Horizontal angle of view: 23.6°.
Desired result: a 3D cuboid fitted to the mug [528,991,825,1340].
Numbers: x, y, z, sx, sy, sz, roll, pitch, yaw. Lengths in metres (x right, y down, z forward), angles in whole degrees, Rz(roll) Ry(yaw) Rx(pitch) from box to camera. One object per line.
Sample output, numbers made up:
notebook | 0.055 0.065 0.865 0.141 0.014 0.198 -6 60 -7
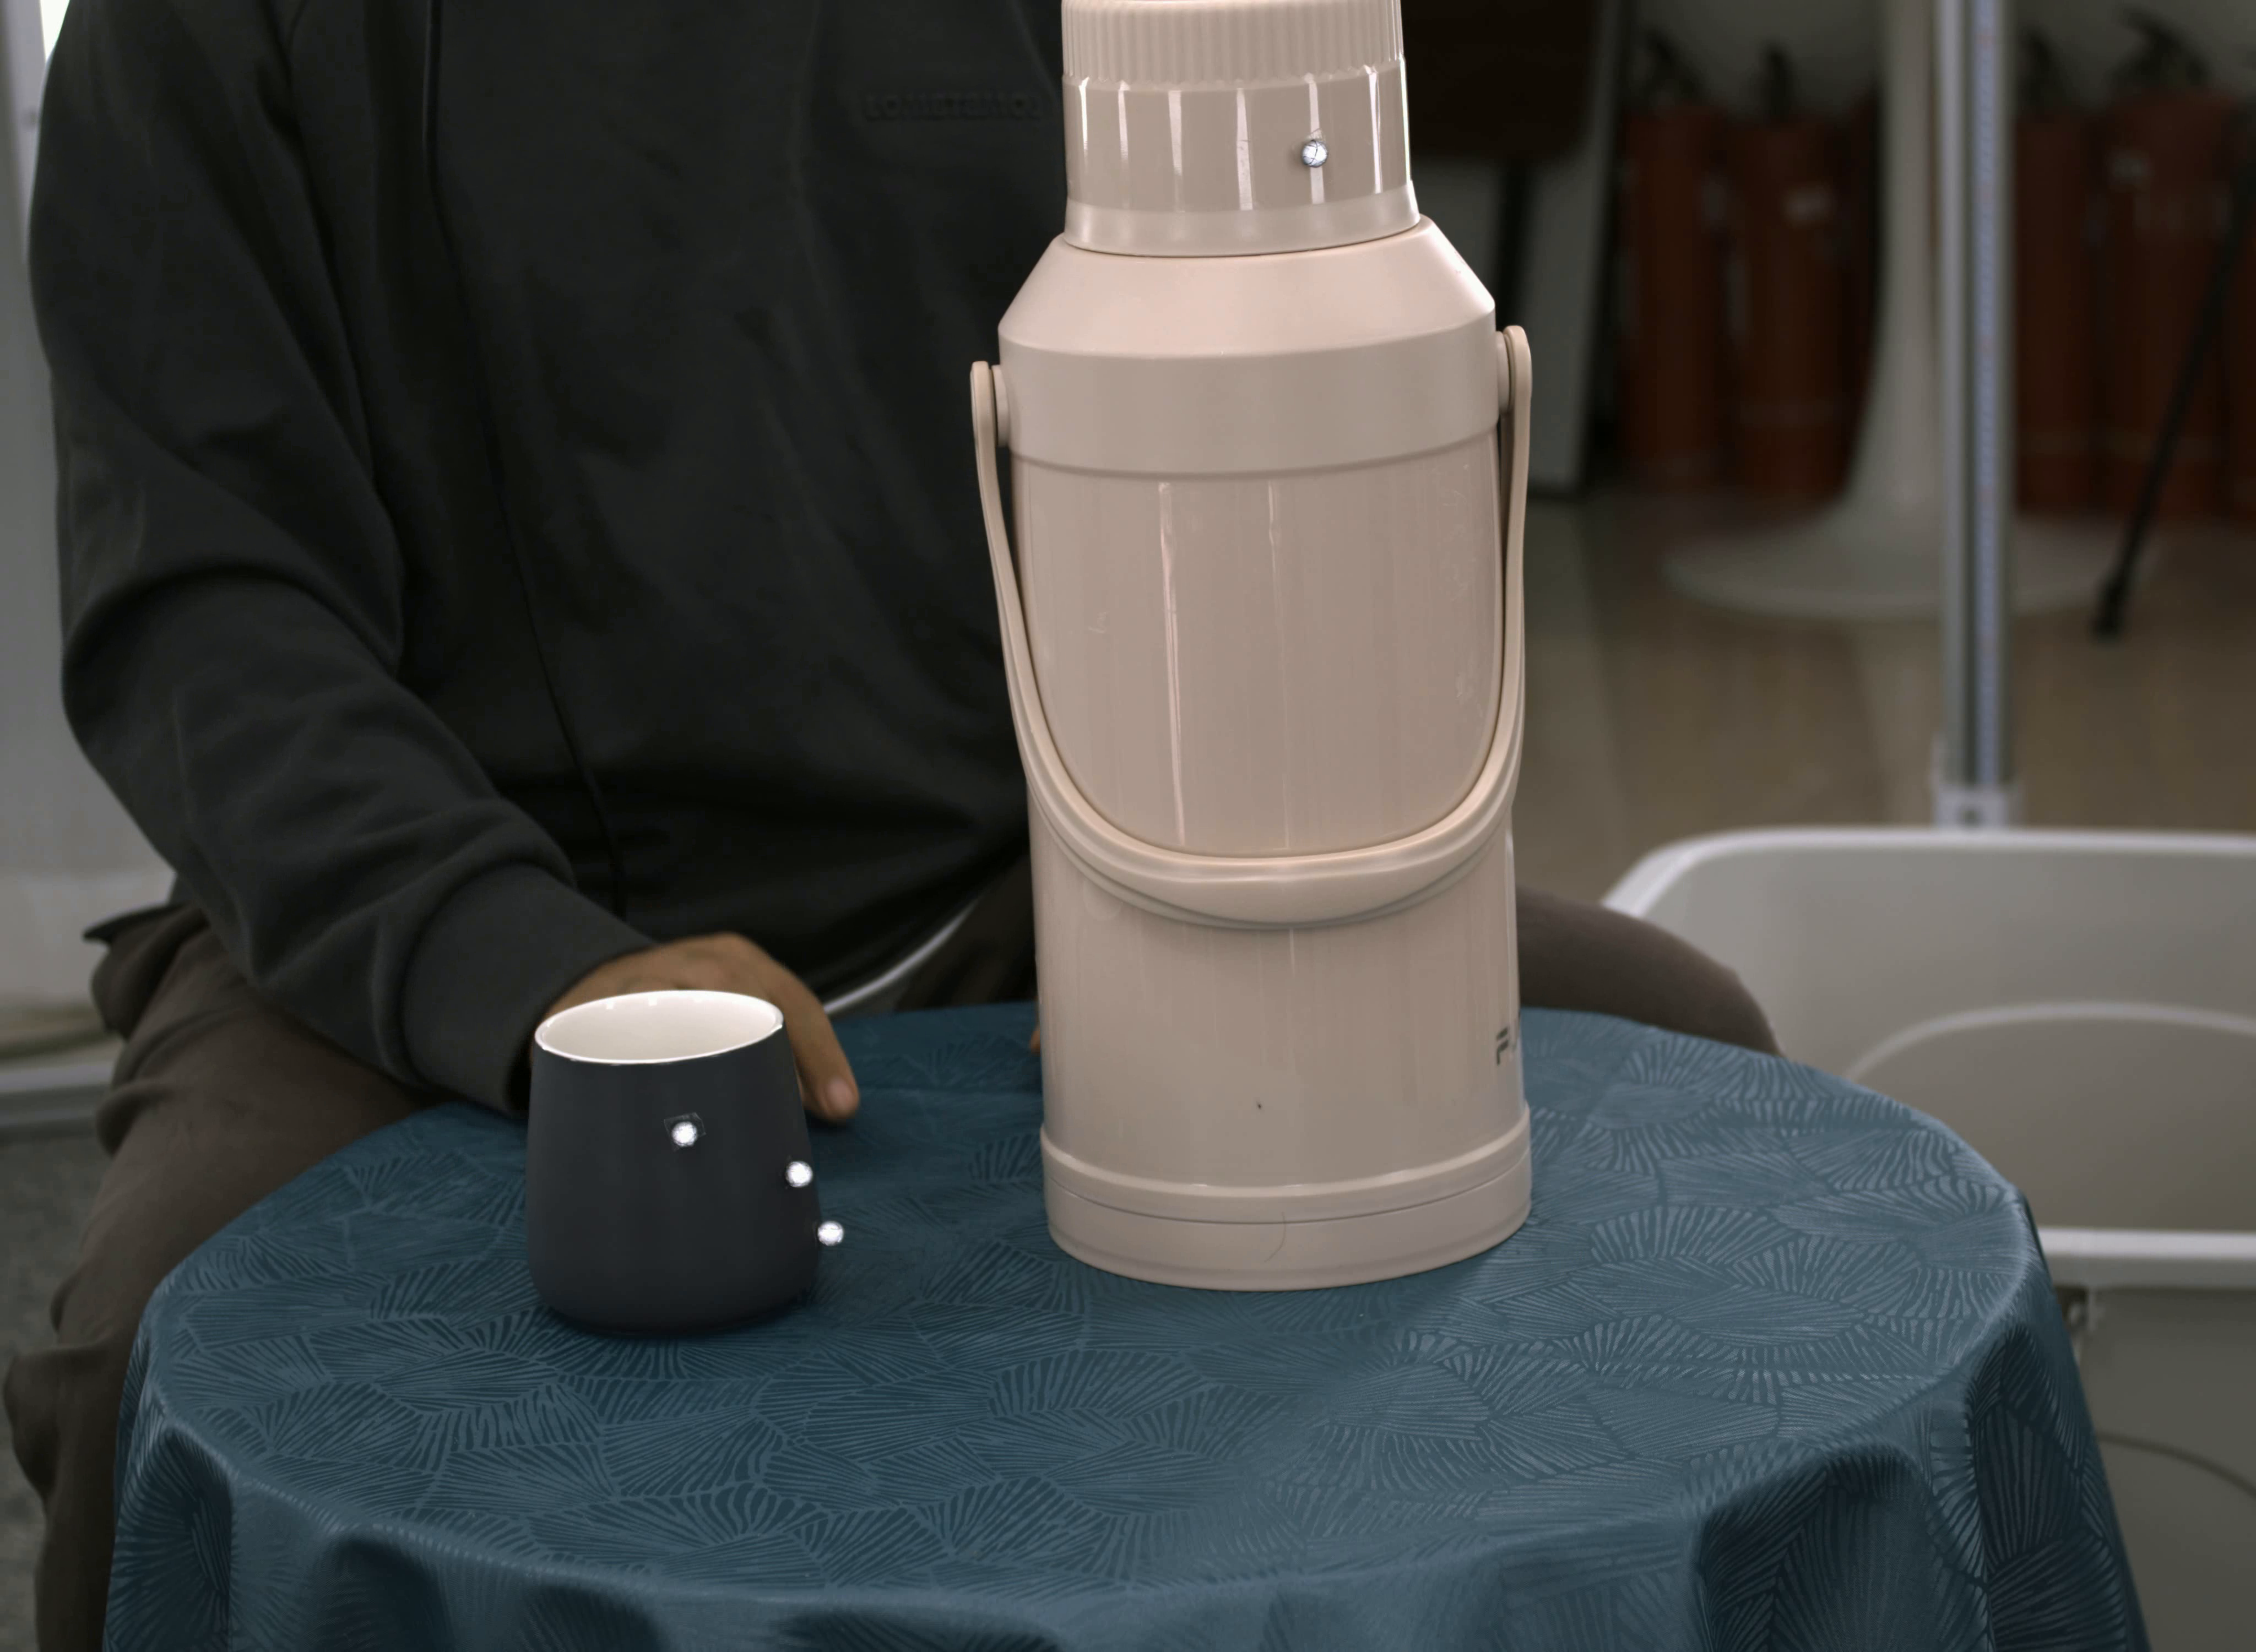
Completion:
mug | -0.145 0.102 1.700 0.092 0.091 0.124 -6 14 -10

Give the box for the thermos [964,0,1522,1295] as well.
thermos | 0.039 -0.072 1.710 0.173 0.411 0.208 -5 14 -4
